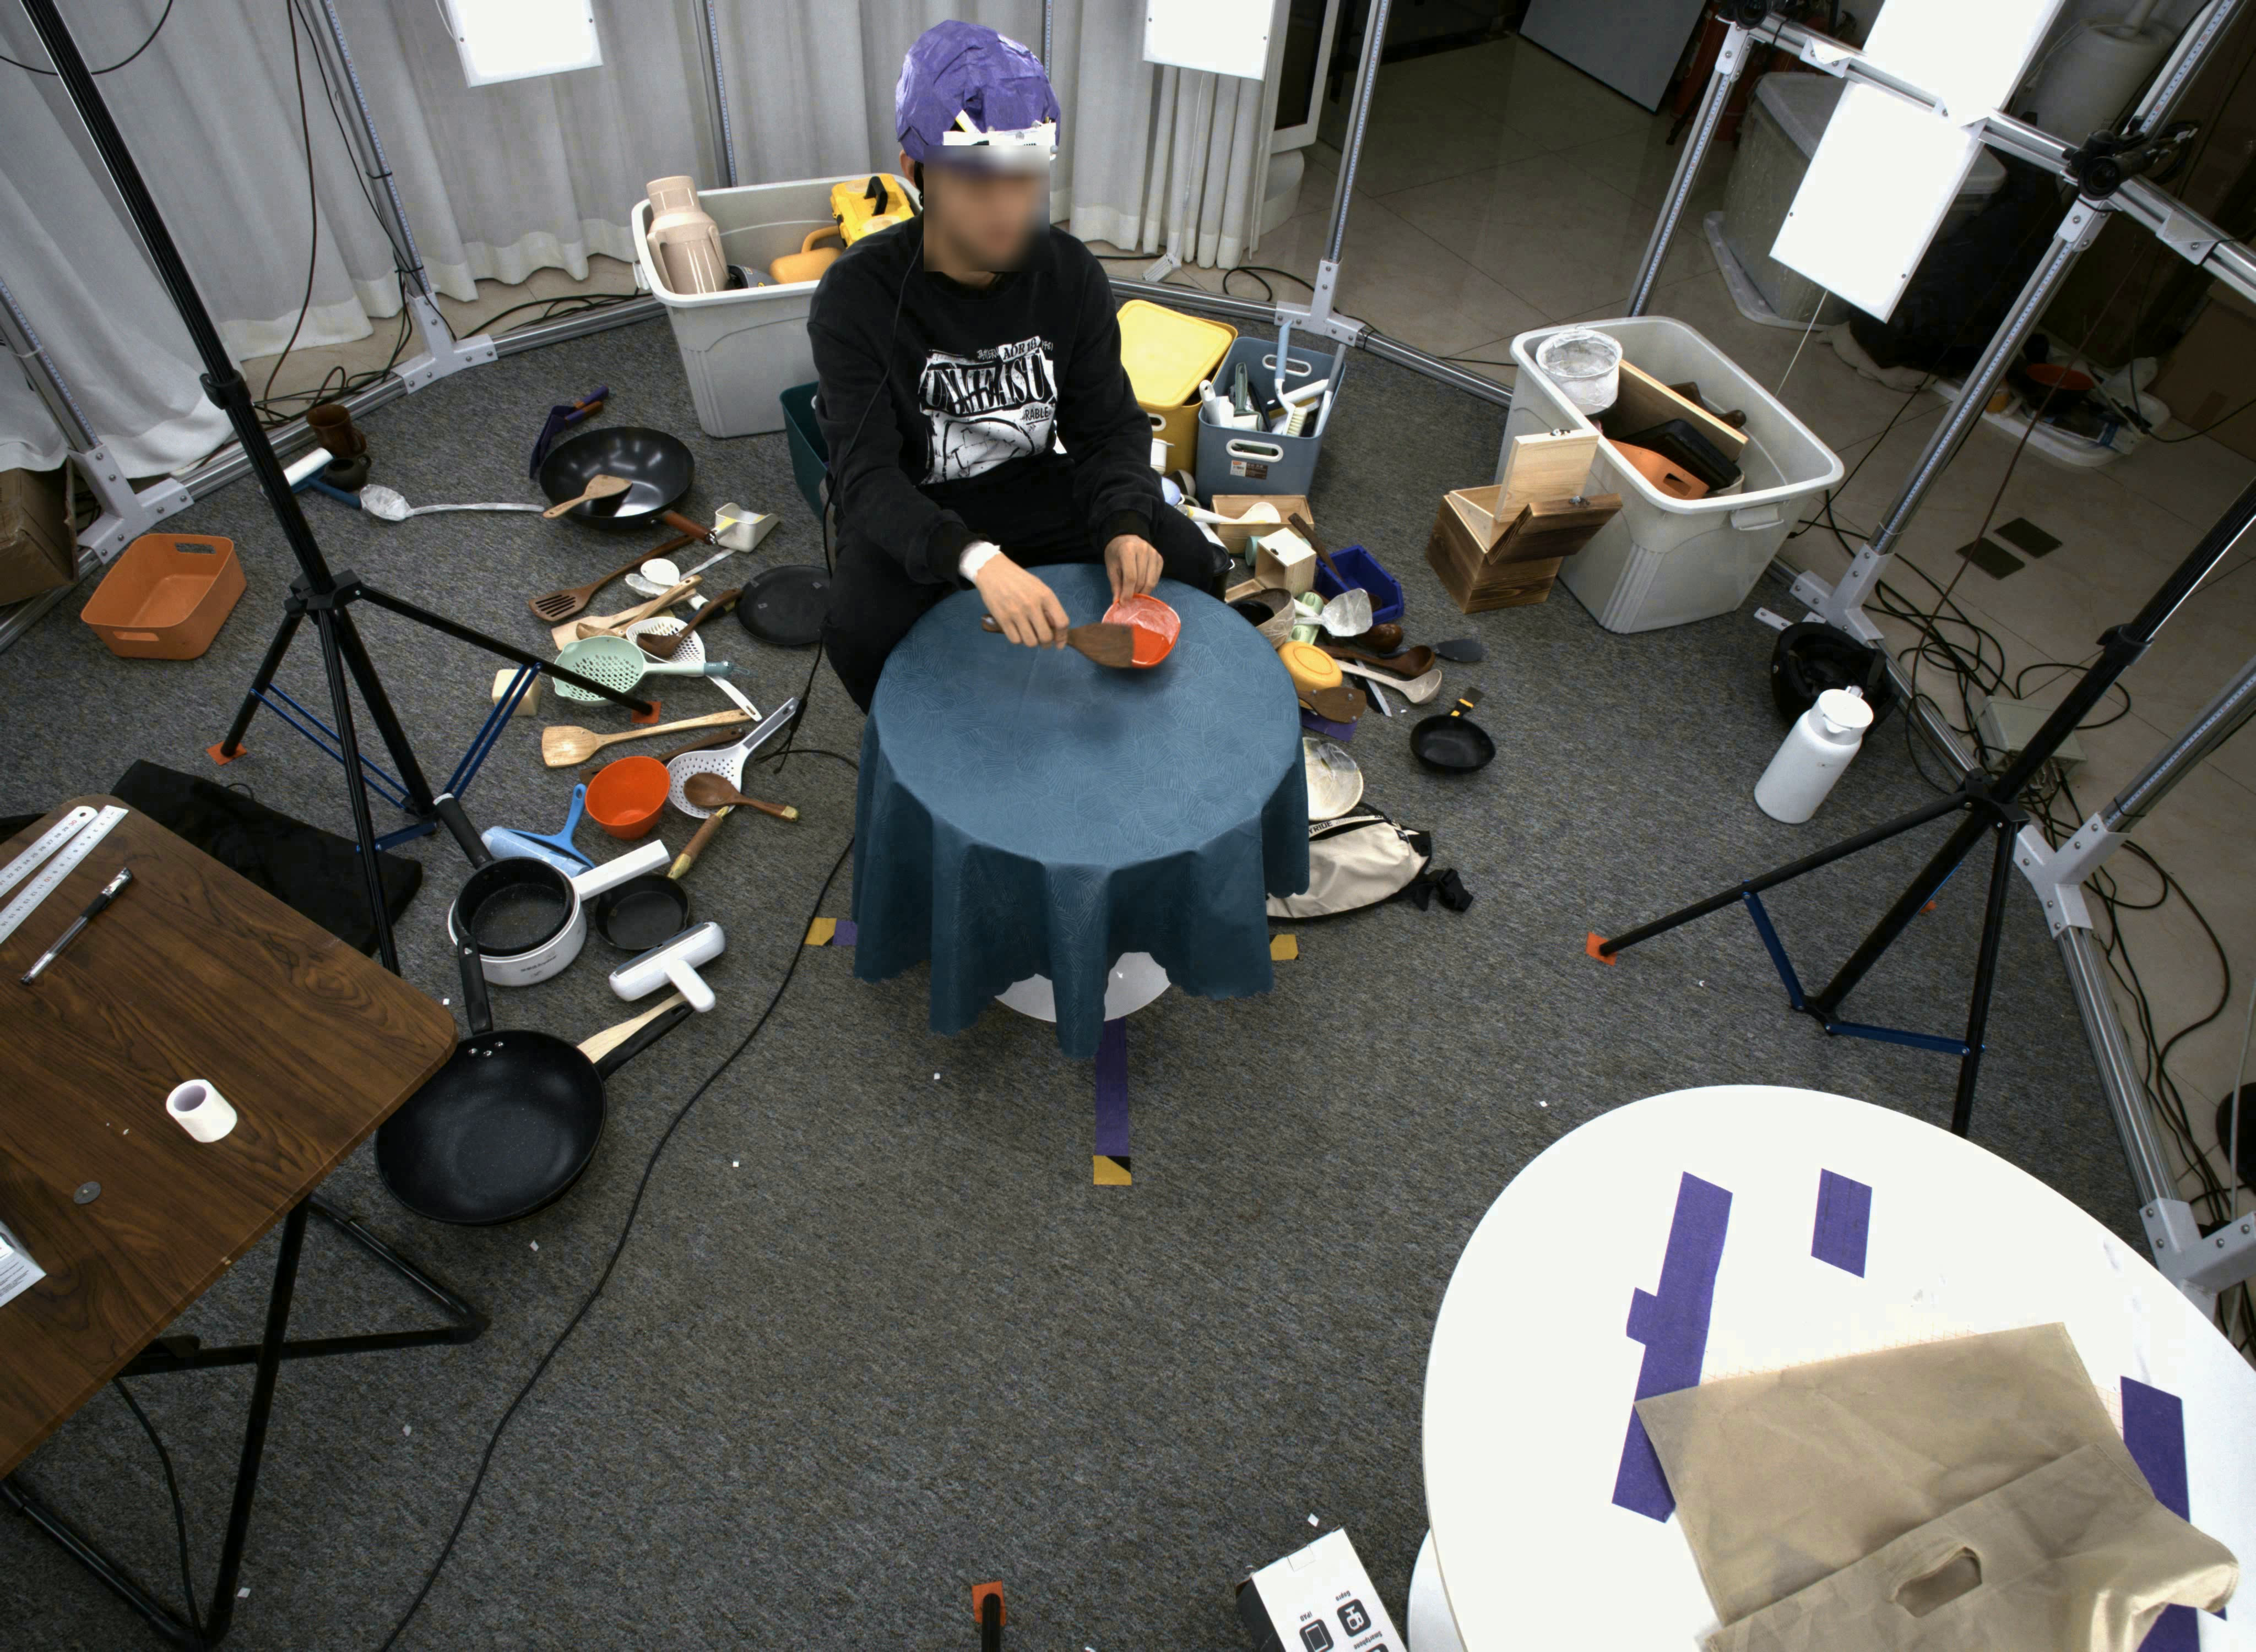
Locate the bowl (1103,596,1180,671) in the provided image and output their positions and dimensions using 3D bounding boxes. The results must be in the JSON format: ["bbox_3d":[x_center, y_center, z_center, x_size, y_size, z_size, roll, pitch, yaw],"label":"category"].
[{"bbox_3d":[0.017,-0.274,1.880,0.119,0.050,0.121,0,68,-1],"label":"bowl"}]

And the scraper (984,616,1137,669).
[{"bbox_3d":[-0.092,-0.260,1.756,0.210,0.010,0.077,8,61,-10],"label":"scraper"}]
